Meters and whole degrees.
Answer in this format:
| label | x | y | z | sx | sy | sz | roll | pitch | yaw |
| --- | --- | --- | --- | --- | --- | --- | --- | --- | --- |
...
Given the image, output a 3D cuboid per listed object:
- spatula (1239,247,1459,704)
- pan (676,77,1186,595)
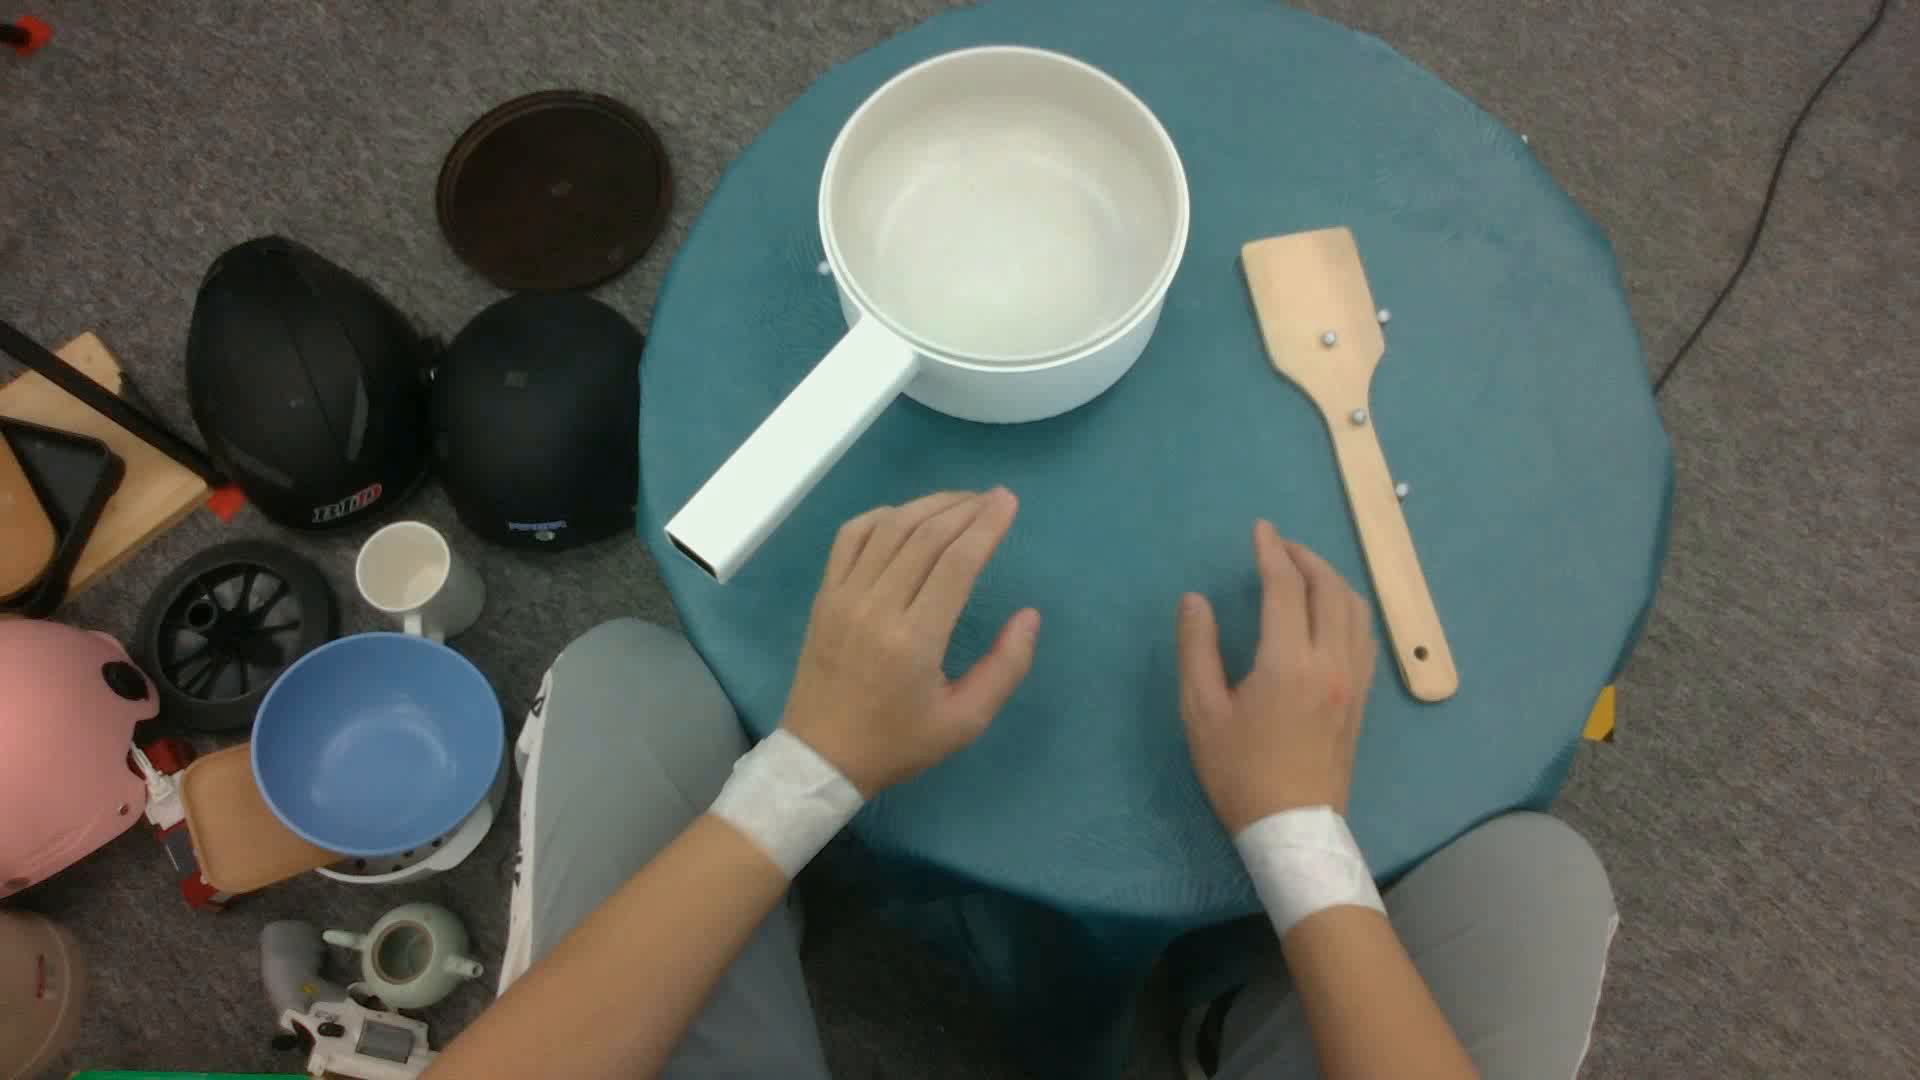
| label | x | y | z | sx | sy | sz | roll | pitch | yaw |
| --- | --- | --- | --- | --- | --- | --- | --- | --- | --- |
| spatula | 0.235 | -0.044 | 0.807 | 0.072 | 0.010 | 0.294 | -10 | 69 | -4 |
| pan | -0.021 | -0.103 | 0.788 | 0.201 | 0.102 | 0.356 | 36 | 73 | 11 |
